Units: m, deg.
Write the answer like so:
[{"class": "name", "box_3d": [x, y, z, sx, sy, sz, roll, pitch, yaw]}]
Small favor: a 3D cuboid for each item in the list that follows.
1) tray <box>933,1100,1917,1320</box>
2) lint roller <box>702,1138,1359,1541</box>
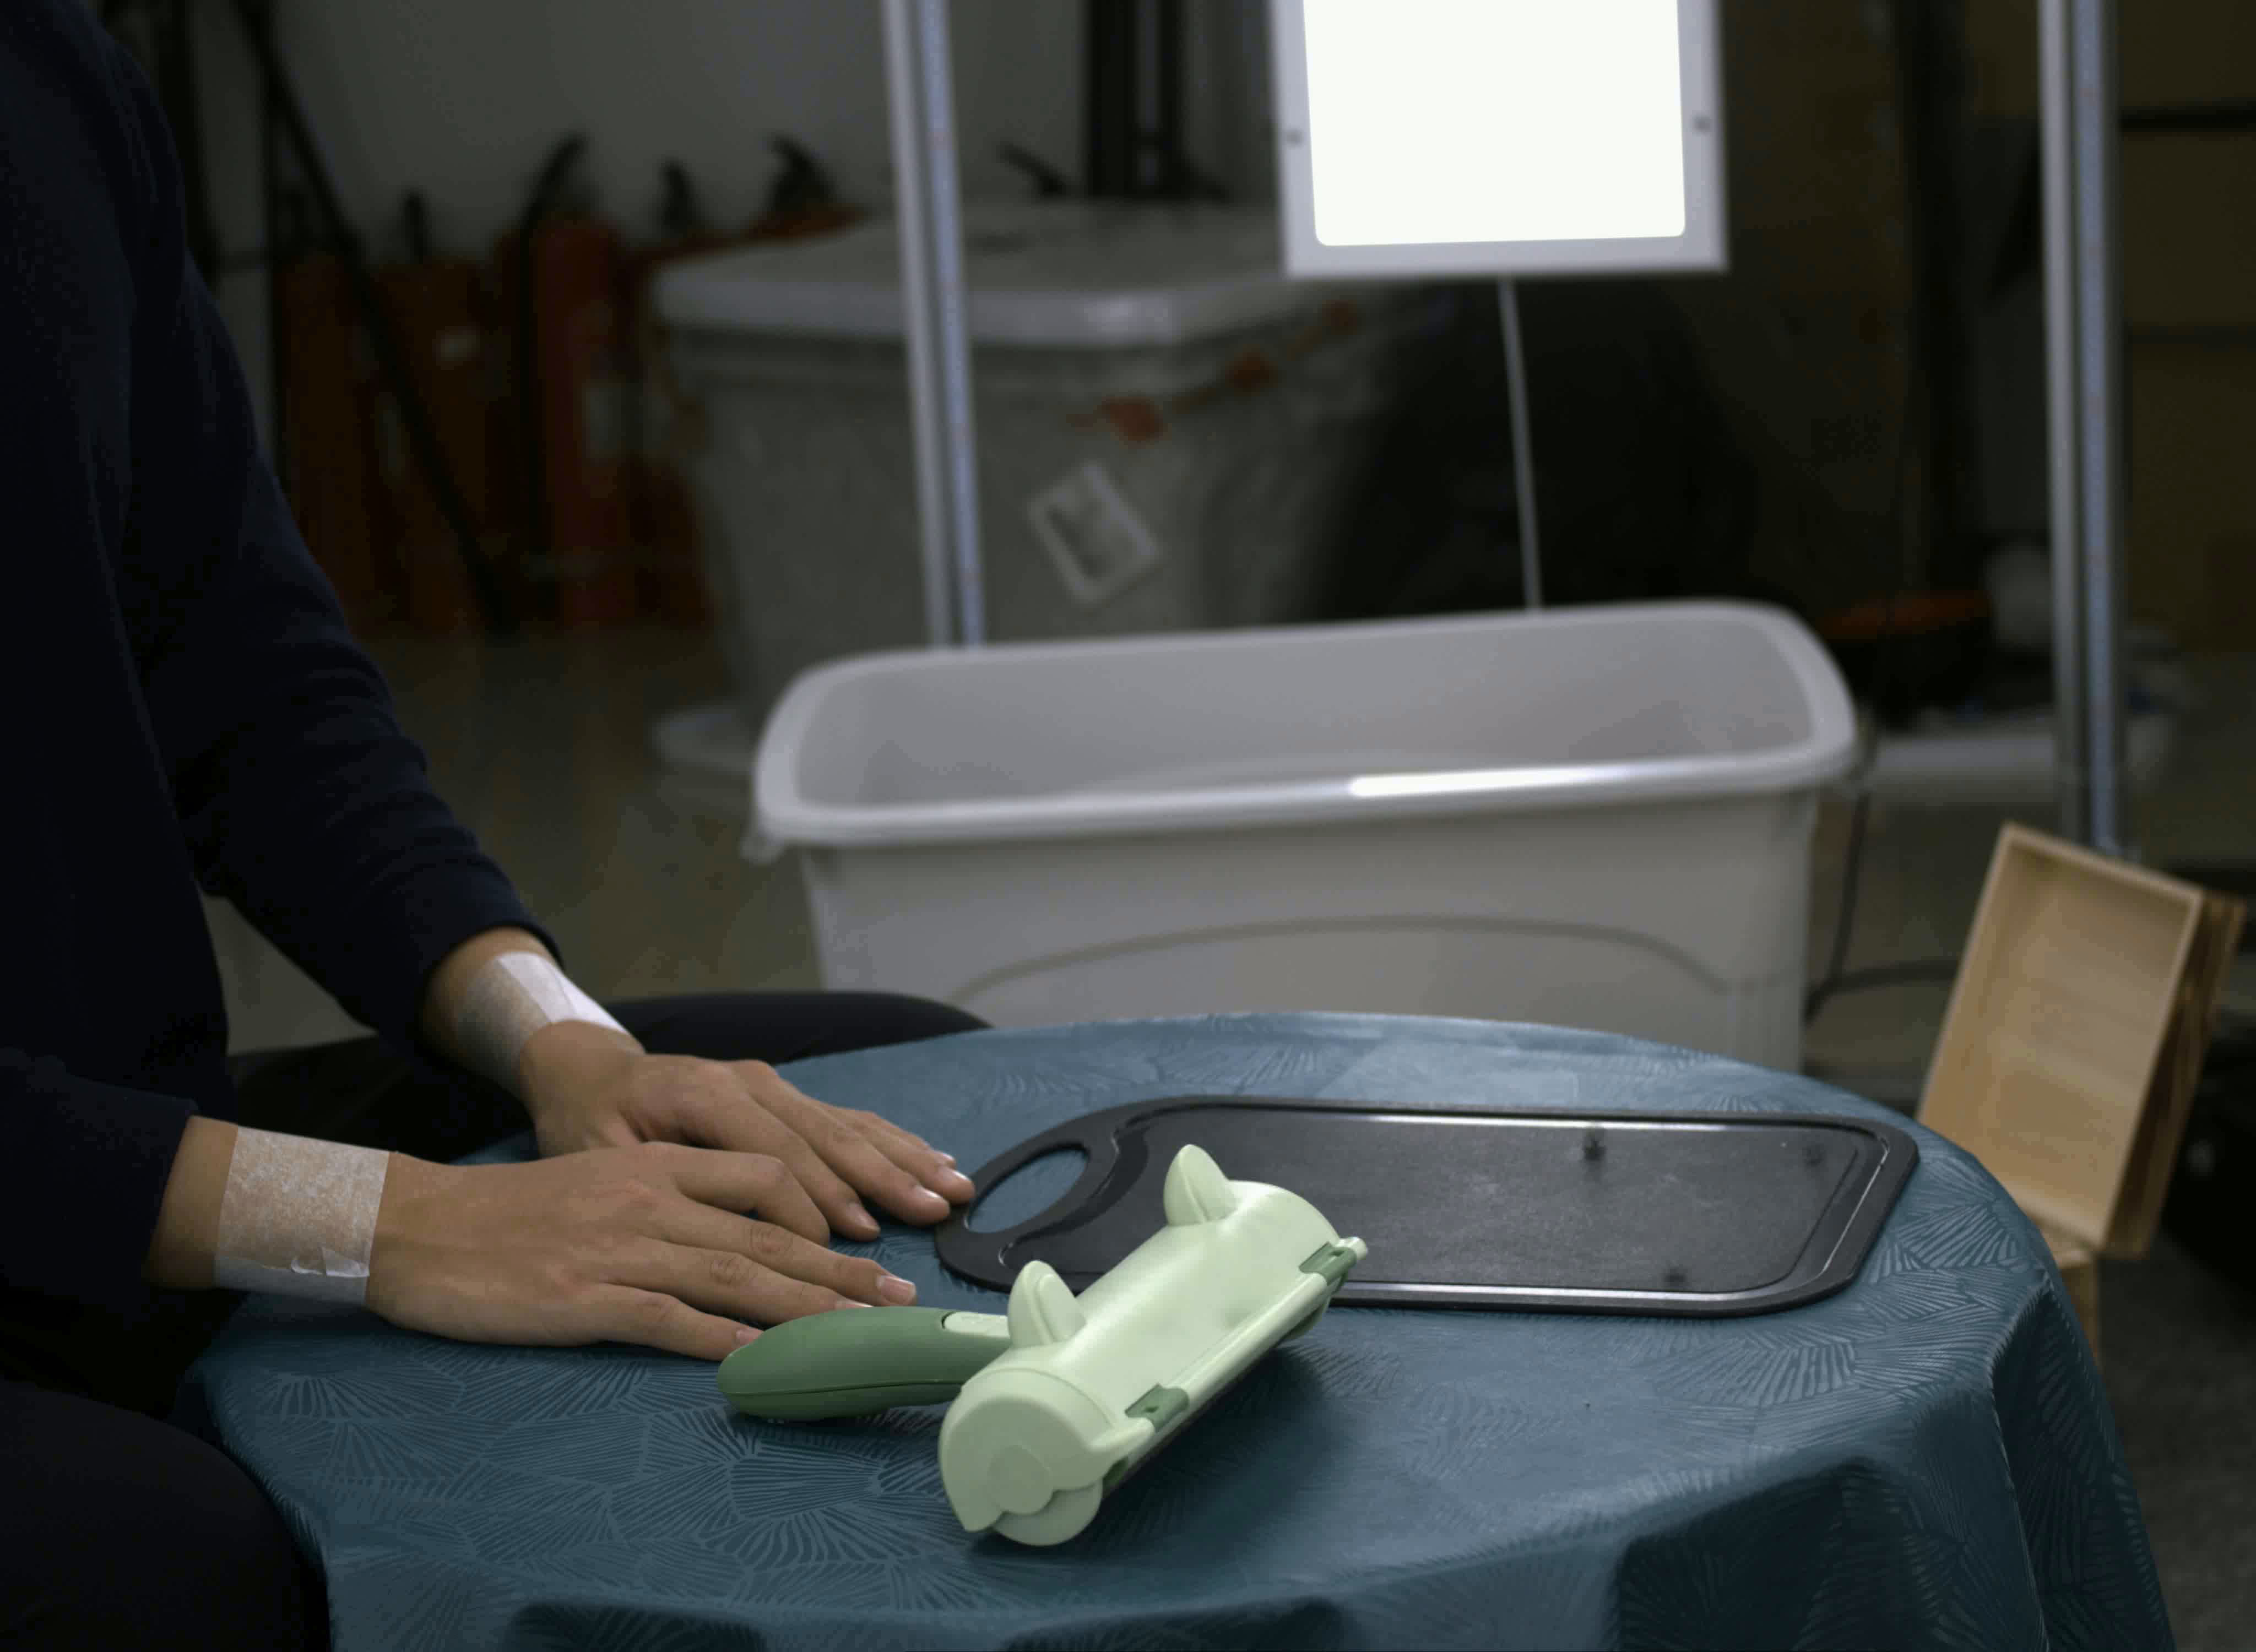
[{"class": "tray", "box_3d": [0.096, 0.125, 1.854, 0.330, 0.010, 0.207, 0, 15, 20]}, {"class": "lint roller", "box_3d": [-0.046, 0.143, 1.667, 0.186, 0.082, 0.194, 8, 17, 23]}]
